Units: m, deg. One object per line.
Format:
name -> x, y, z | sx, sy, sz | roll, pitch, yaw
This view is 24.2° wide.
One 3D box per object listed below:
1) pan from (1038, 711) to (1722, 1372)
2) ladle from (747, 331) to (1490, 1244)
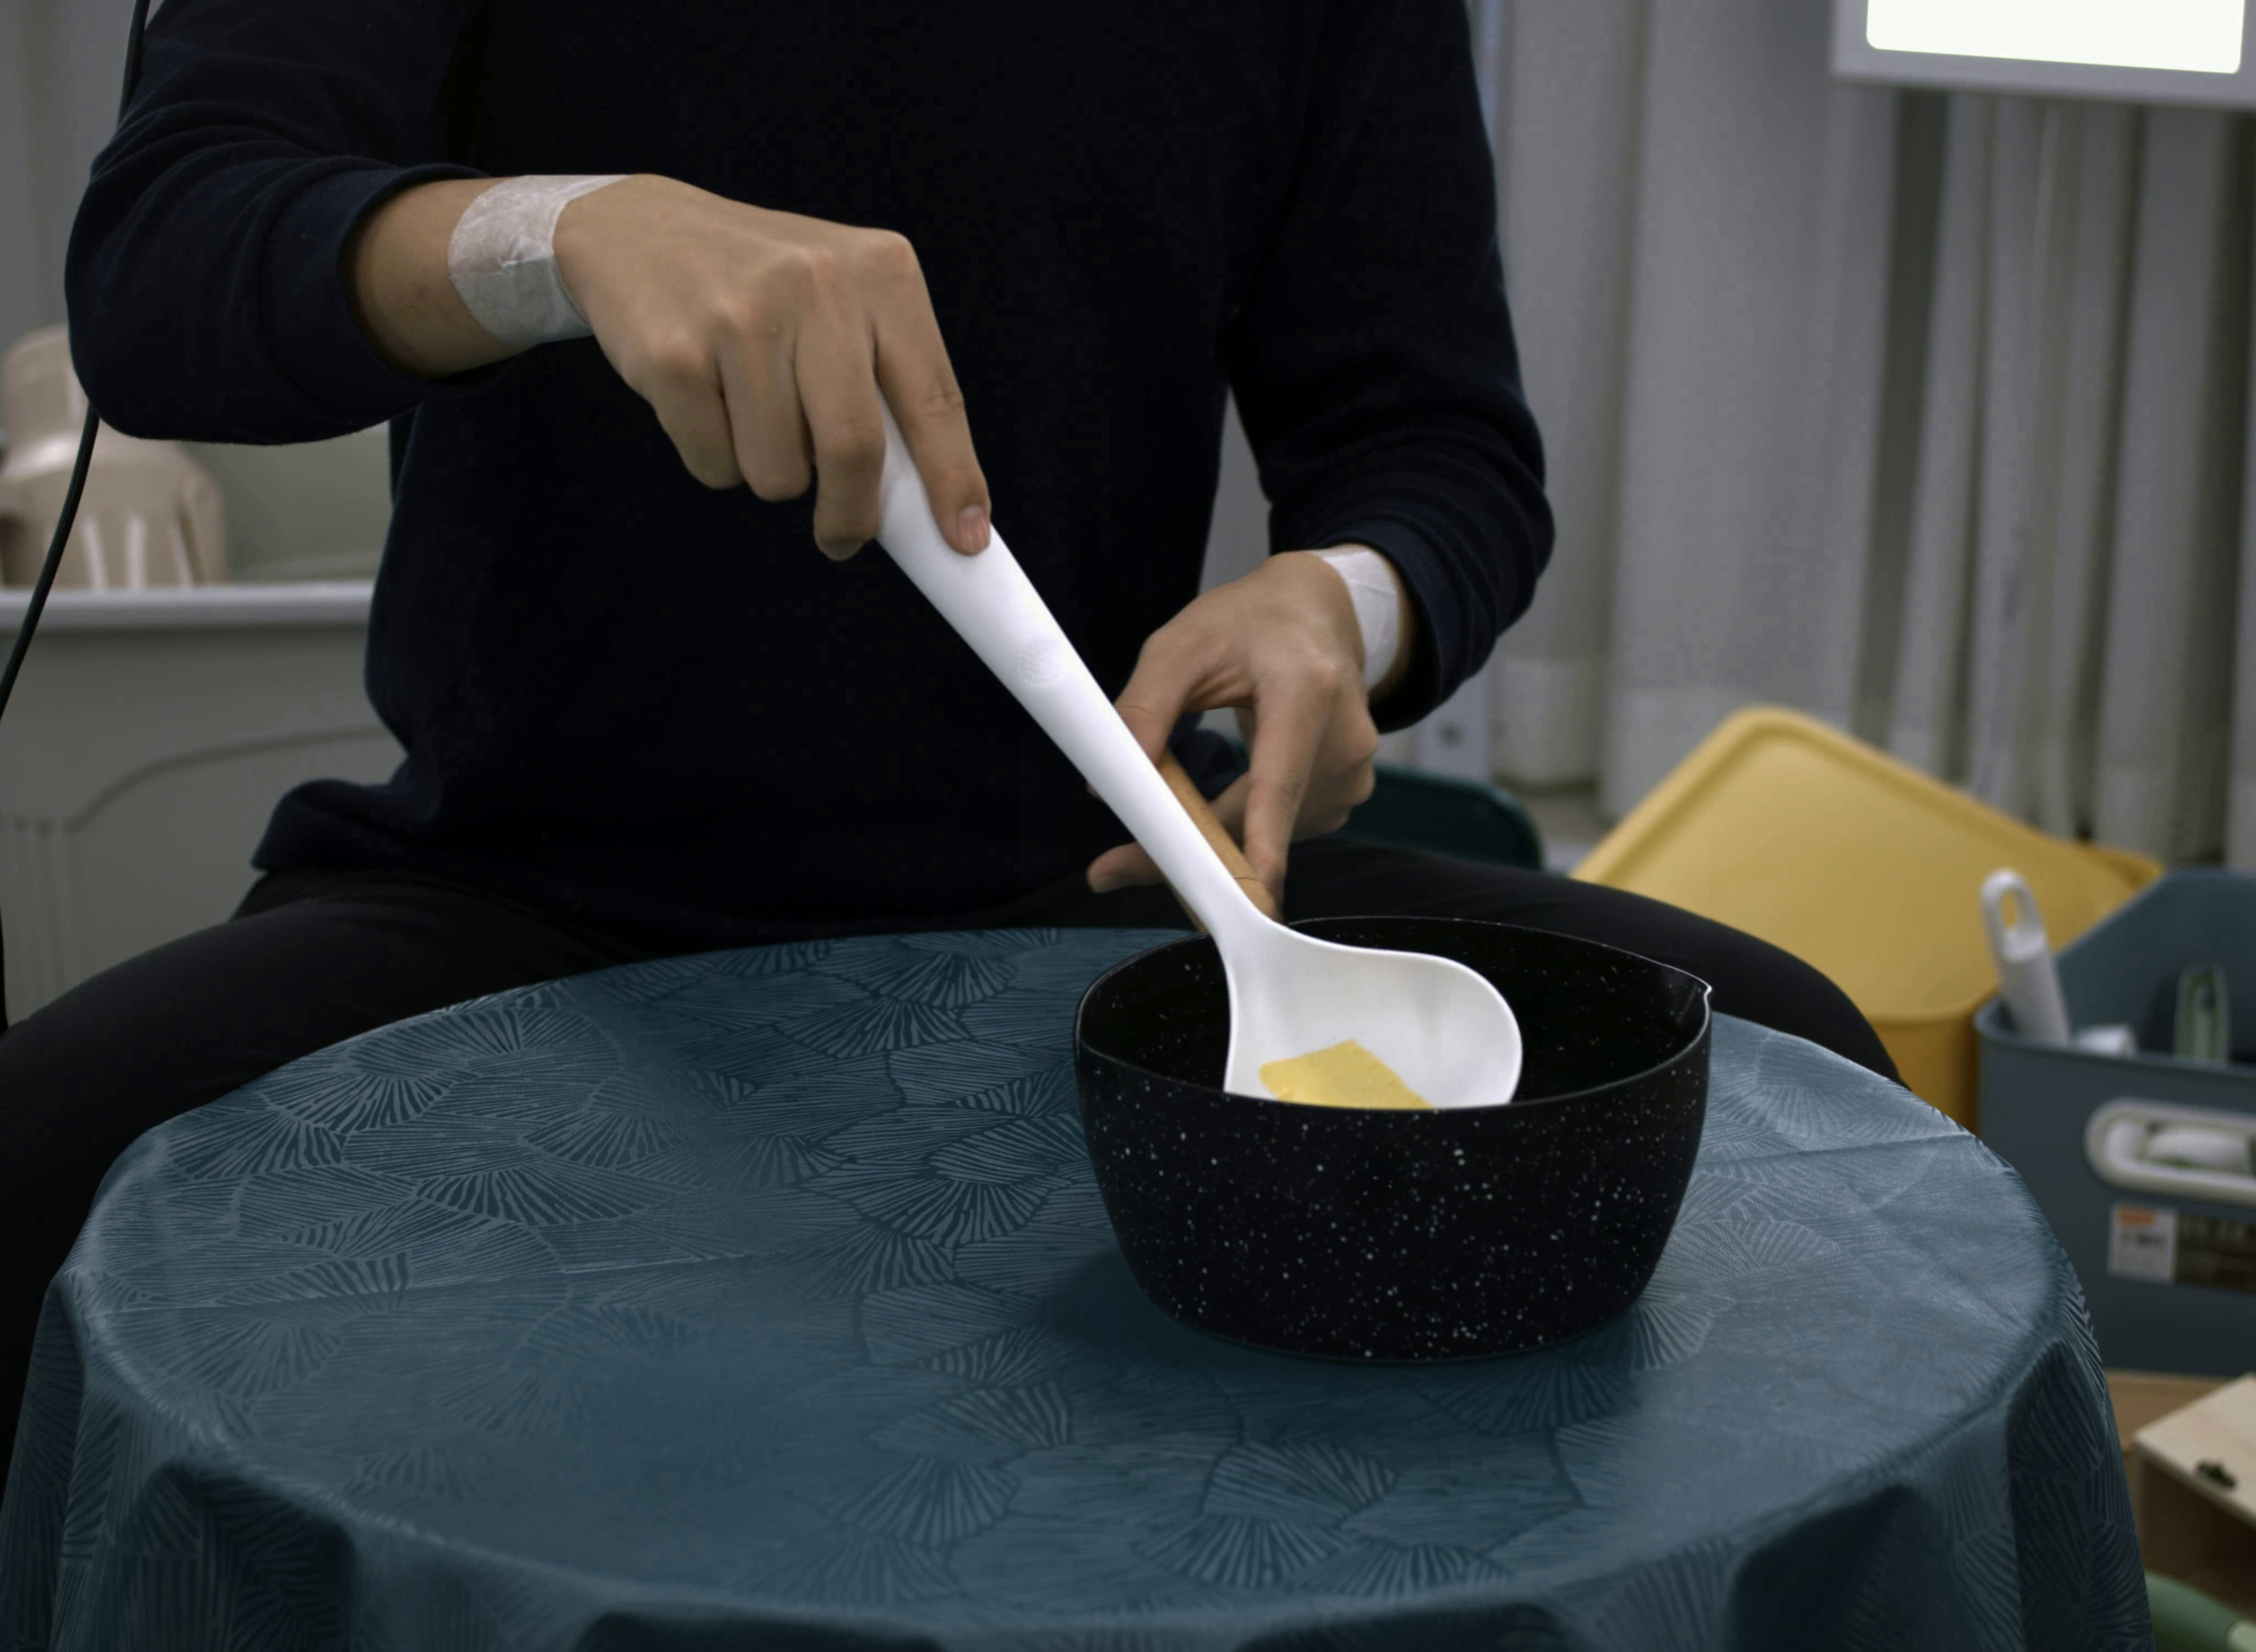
pan -> 0.052, 0.060, 1.608 | 0.208, 0.109, 0.339 | -7, 19, -18
ladle -> -0.009, -0.015, 1.475 | 0.090, 0.293, 0.070 | -37, 3, 3
